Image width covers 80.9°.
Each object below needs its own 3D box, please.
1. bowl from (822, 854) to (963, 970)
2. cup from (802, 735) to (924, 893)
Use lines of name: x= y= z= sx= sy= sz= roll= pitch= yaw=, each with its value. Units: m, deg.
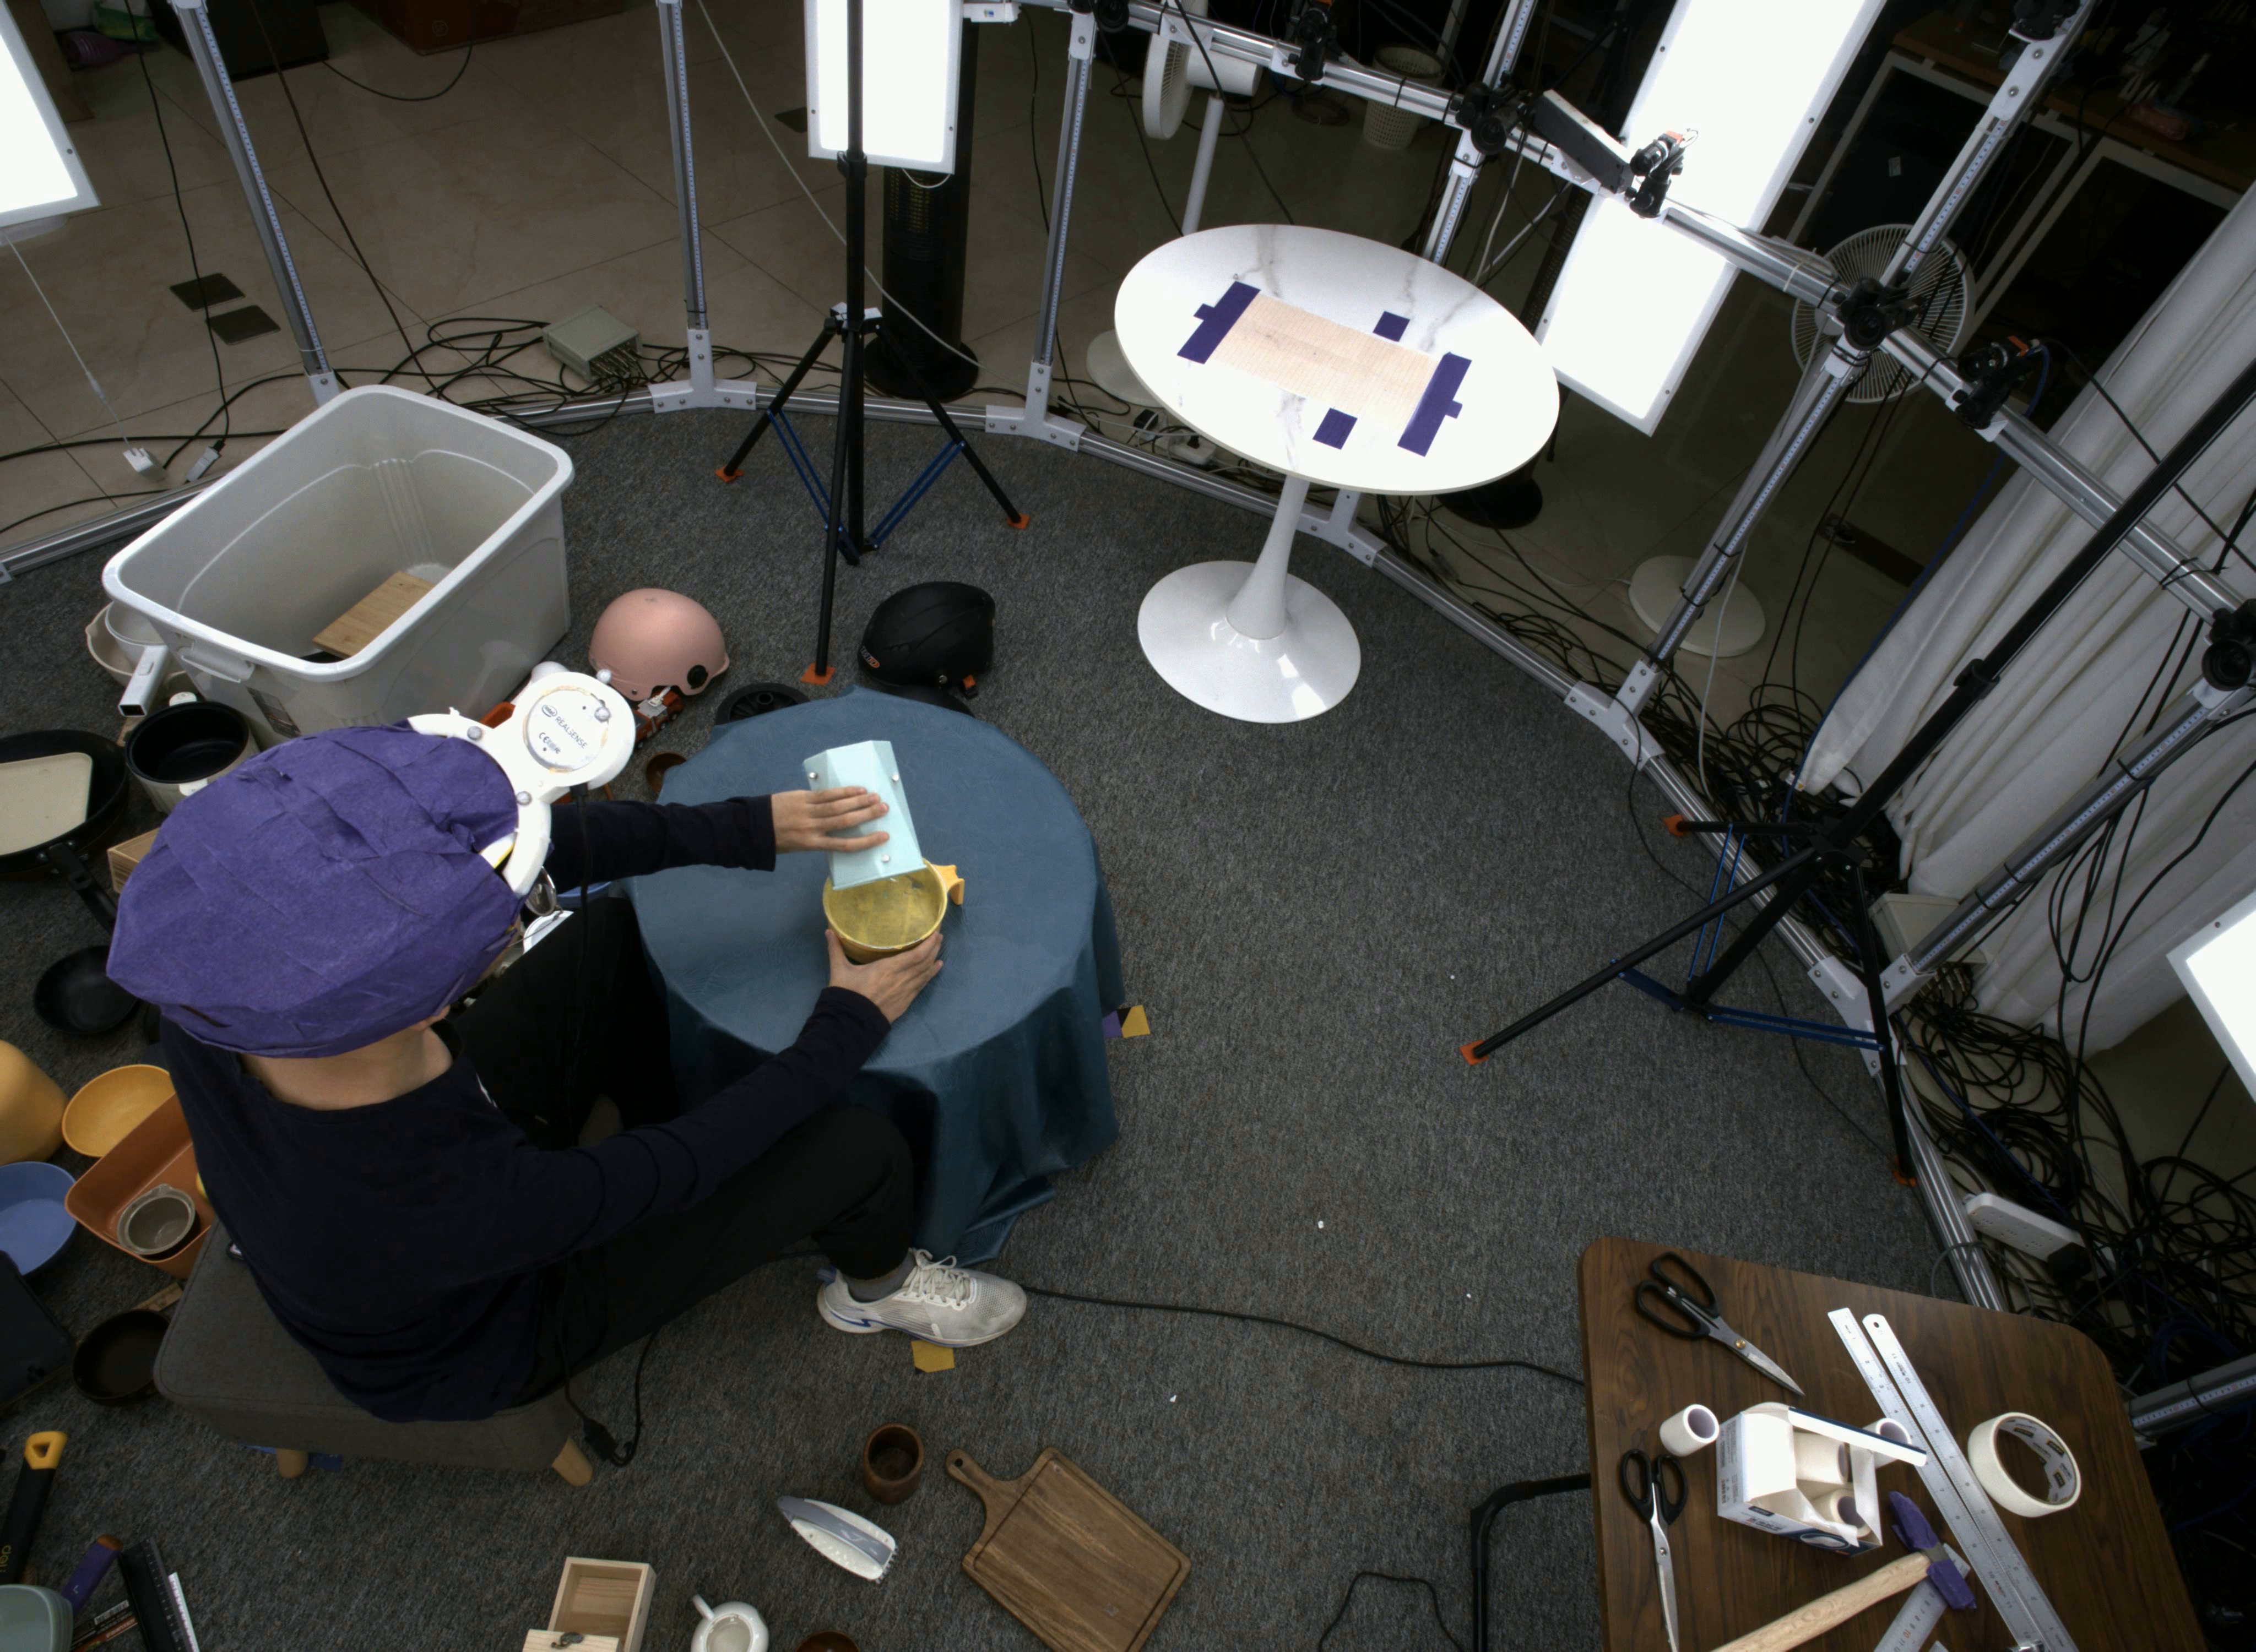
bowl: x=-0.293 y=0.102 z=1.640 sx=0.180 sy=0.076 sz=0.149 roll=-26 pitch=63 yaw=-26
cup: x=-0.320 y=-0.017 z=1.559 sx=0.115 sy=0.130 sz=0.164 roll=-13 pitch=89 yaw=-14
